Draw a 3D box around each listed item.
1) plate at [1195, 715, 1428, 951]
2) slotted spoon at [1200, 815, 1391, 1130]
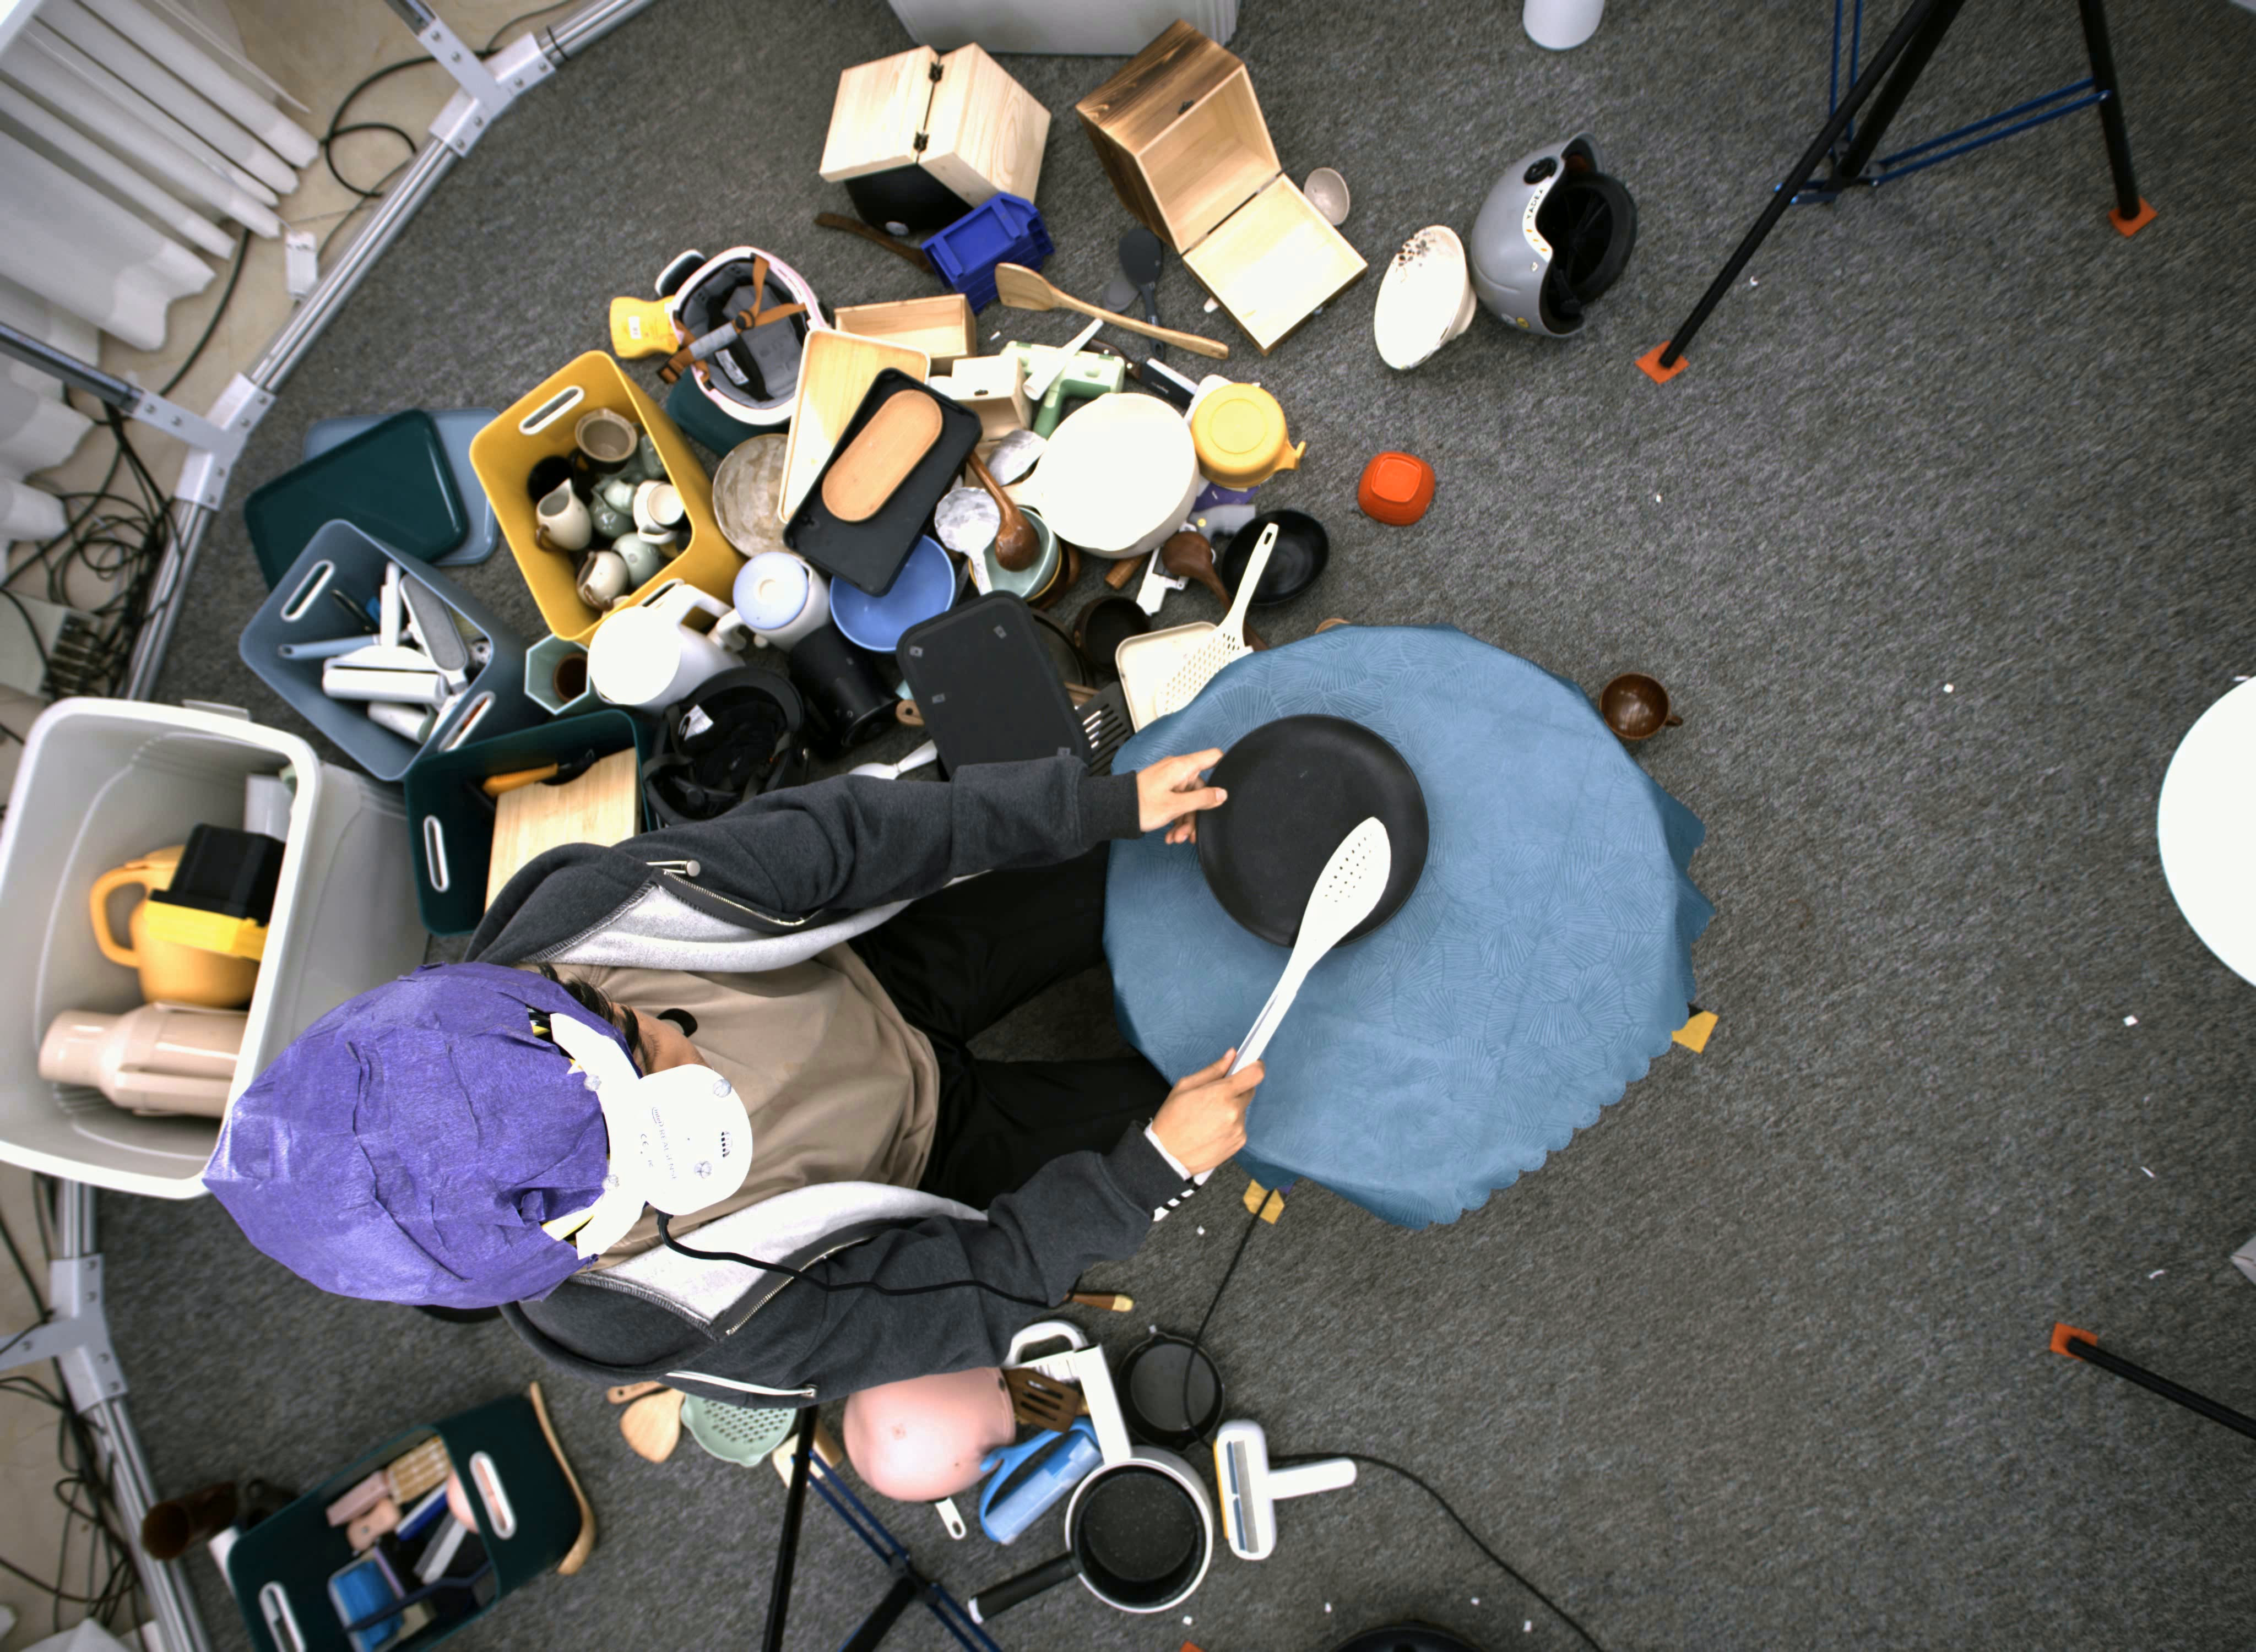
[{"bbox_3d":[0.188,0.007,1.422,0.244,0.023,0.245,0,93,-5],"label":"plate"},{"bbox_3d":[0.164,0.145,1.365,0.046,0.135,0.350,34,92,-7],"label":"slotted spoon"}]
